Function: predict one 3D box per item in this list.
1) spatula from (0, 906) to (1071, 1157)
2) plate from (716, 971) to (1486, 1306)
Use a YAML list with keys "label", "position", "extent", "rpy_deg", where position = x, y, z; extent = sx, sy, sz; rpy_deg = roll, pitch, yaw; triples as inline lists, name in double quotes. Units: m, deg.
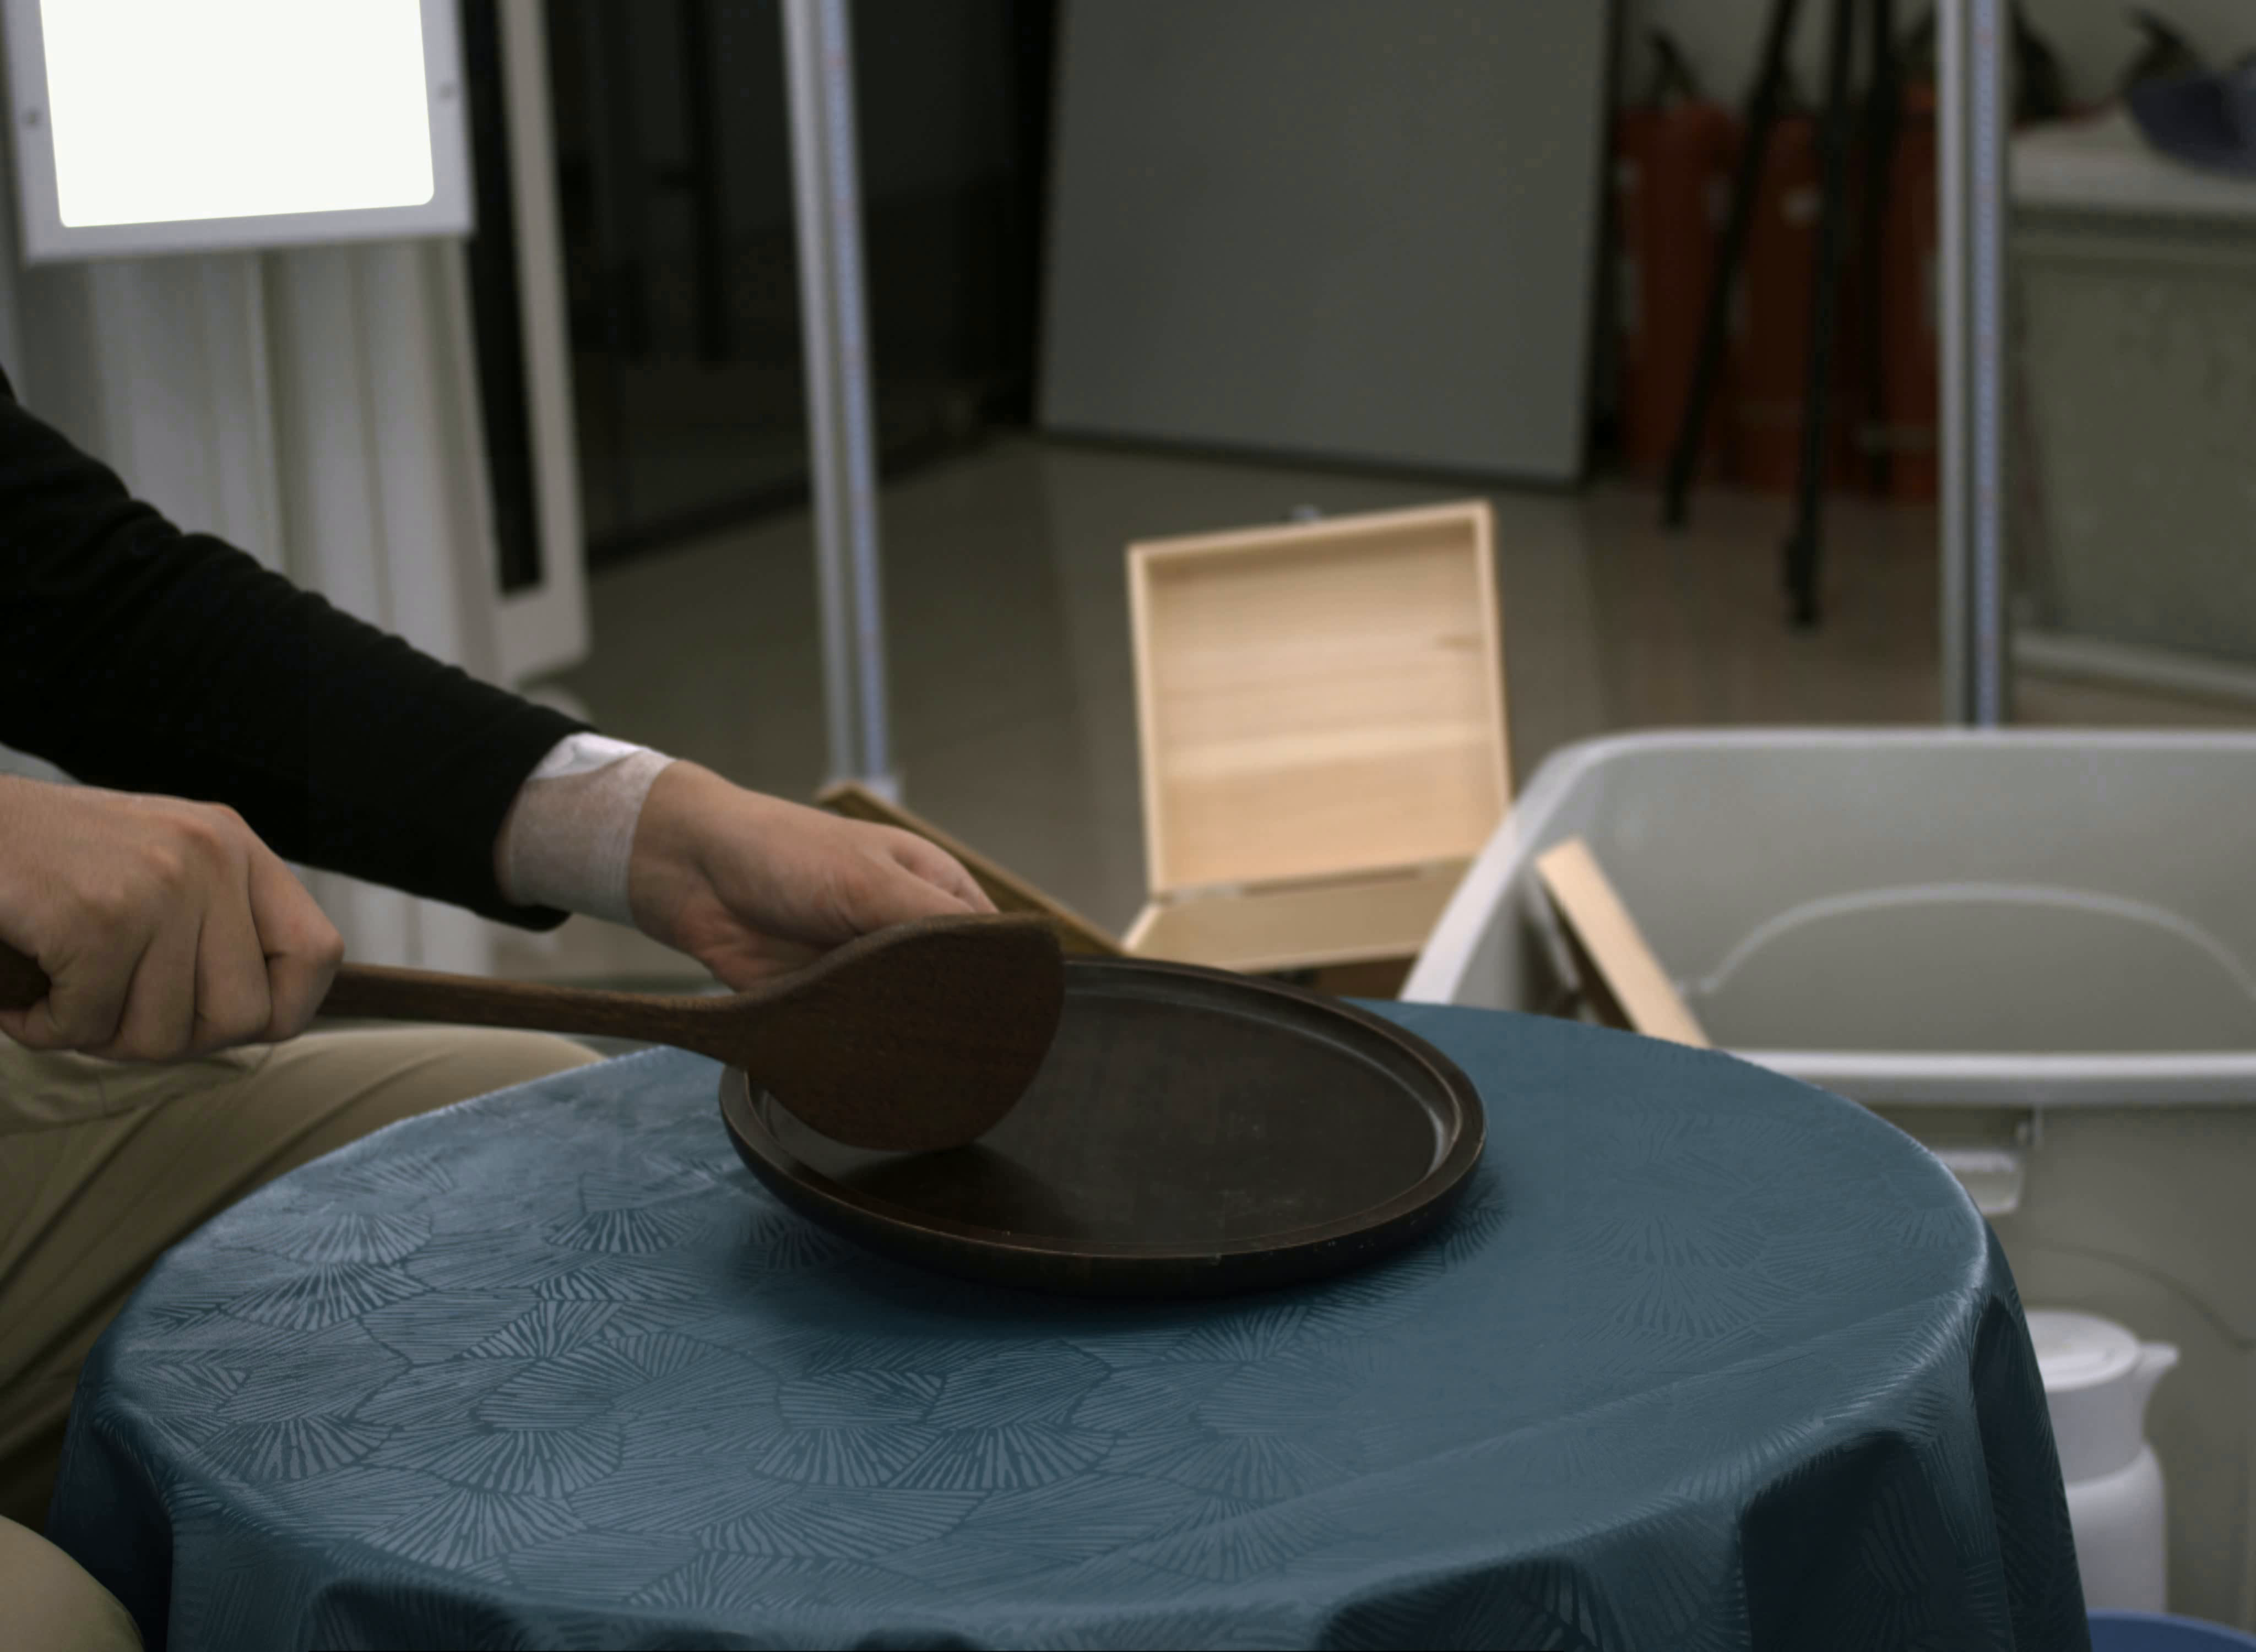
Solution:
- label: "spatula"
  position: [-0.196, 0.053, 1.636]
  extent: [0.377, 0.097, 0.016]
  rpy_deg: [6, 33, -21]
- label: "plate"
  position: [-0.009, 0.098, 1.750]
  extent: [0.251, 0.029, 0.255]
  rpy_deg: [3, 20, -2]
